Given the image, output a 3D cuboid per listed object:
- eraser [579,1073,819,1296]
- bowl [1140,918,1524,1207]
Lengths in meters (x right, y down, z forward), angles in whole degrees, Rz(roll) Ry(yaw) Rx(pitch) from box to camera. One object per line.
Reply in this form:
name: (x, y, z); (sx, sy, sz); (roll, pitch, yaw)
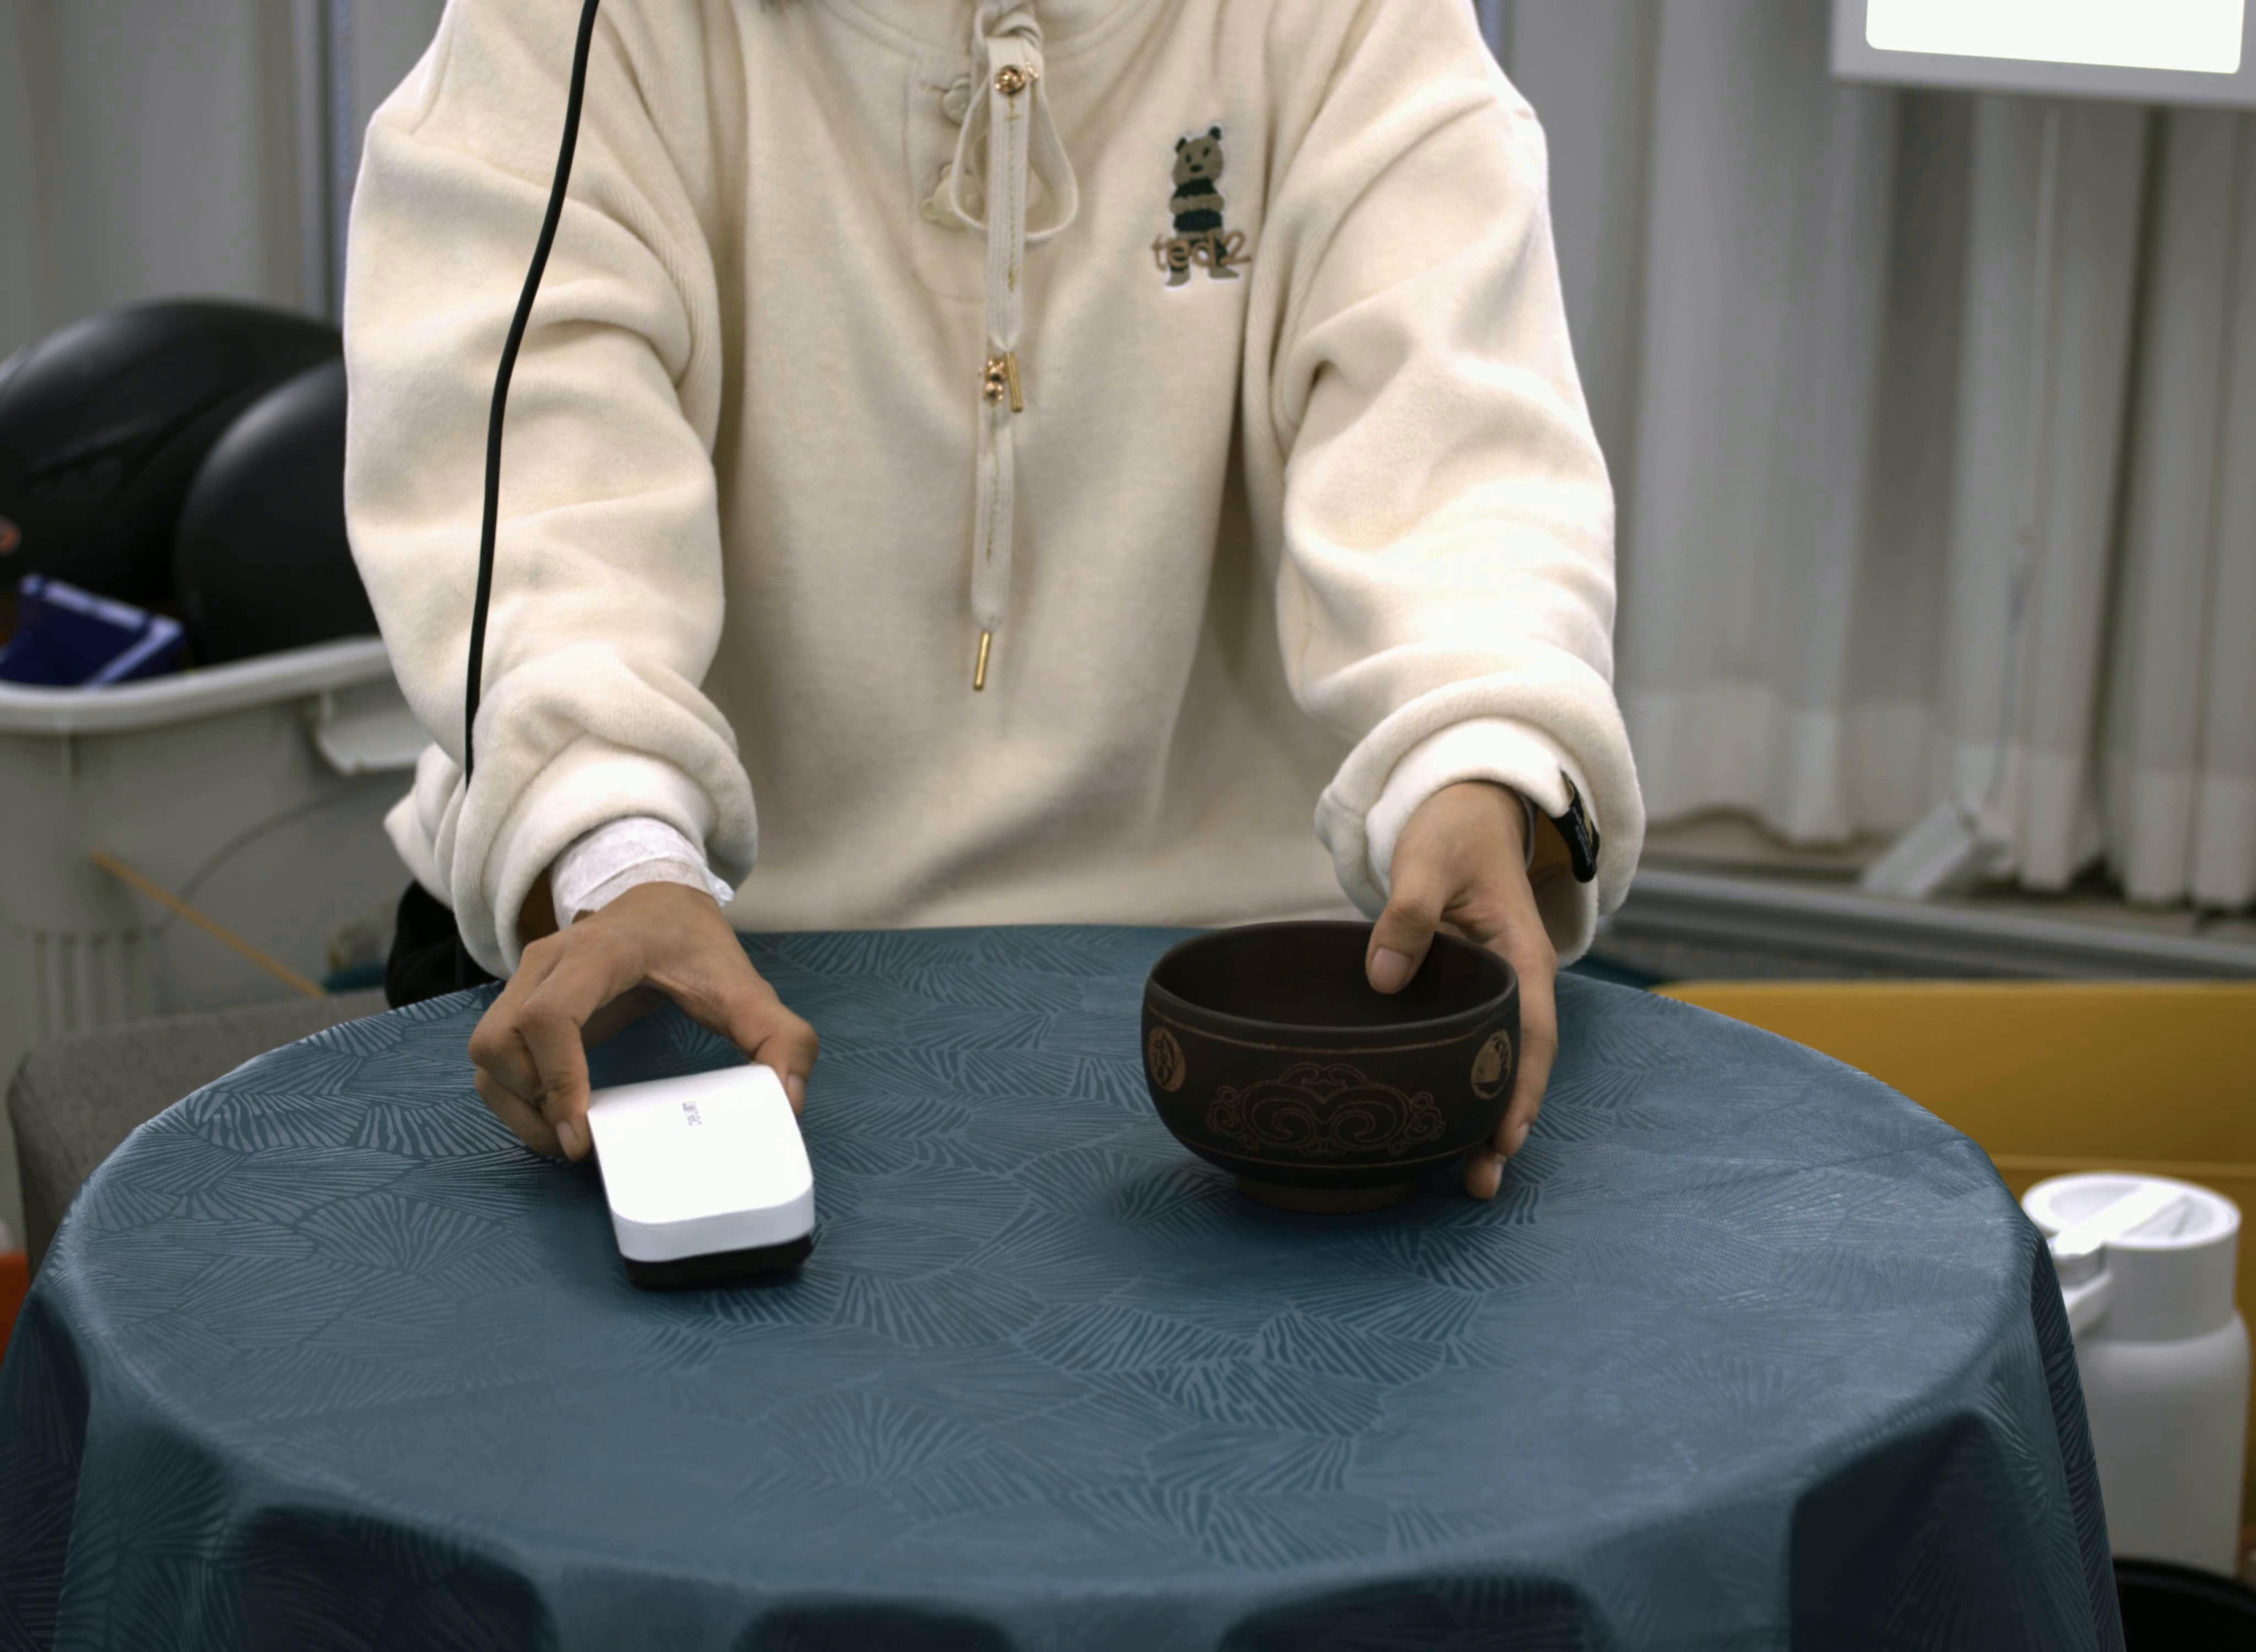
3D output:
eraser: (-0.129, 0.103, 1.586); (0.063, 0.035, 0.130); (-6, 17, -10)
bowl: (0.062, 0.076, 1.619); (0.117, 0.070, 0.117); (2, 14, 0)
